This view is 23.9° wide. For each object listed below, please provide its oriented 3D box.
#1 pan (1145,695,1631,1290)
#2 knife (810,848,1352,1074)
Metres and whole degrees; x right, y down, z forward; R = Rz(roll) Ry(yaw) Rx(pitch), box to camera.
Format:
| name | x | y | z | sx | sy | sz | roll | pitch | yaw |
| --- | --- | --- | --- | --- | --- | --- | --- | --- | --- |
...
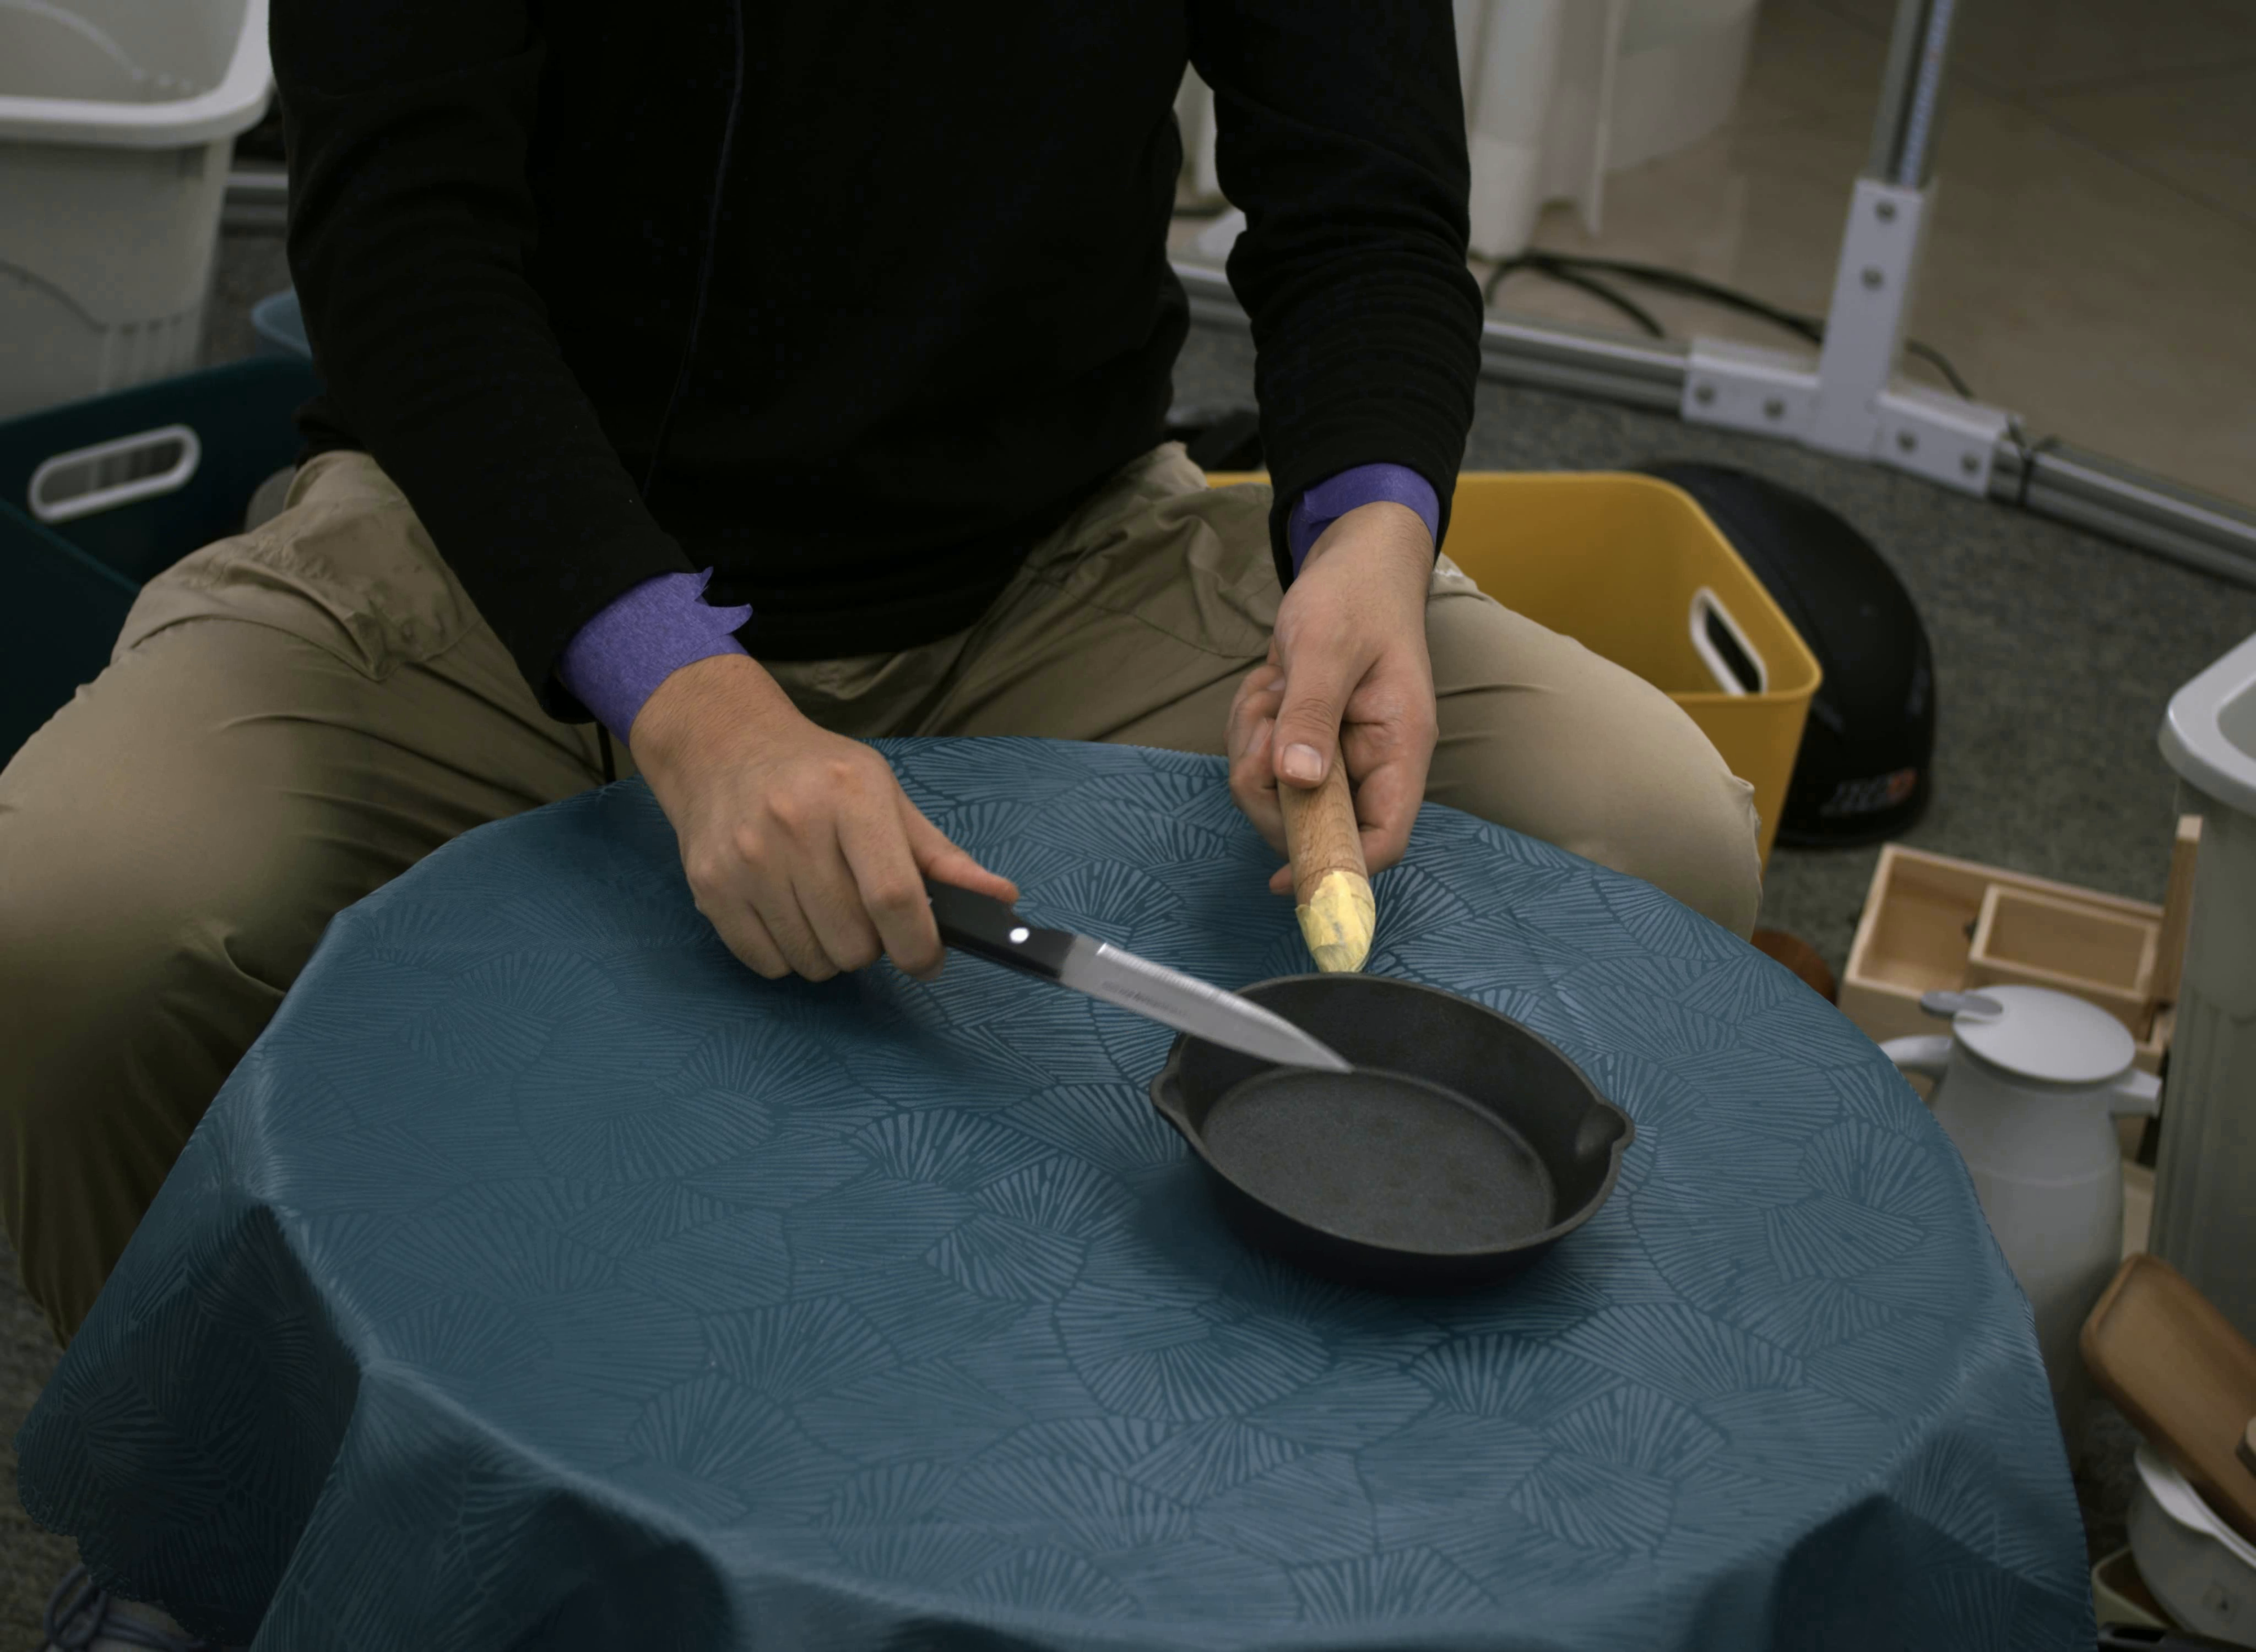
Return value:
| name | x | y | z | sx | sy | sz | roll | pitch | yaw |
| --- | --- | --- | --- | --- | --- | --- | --- | --- | --- |
| pan | 0.080 | 0.056 | 1.871 | 0.168 | 0.049 | 0.327 | 6 | 32 | -9 |
| knife | -0.021 | 0.050 | 1.839 | 0.239 | 0.016 | 0.024 | 20 | 52 | 34 |
